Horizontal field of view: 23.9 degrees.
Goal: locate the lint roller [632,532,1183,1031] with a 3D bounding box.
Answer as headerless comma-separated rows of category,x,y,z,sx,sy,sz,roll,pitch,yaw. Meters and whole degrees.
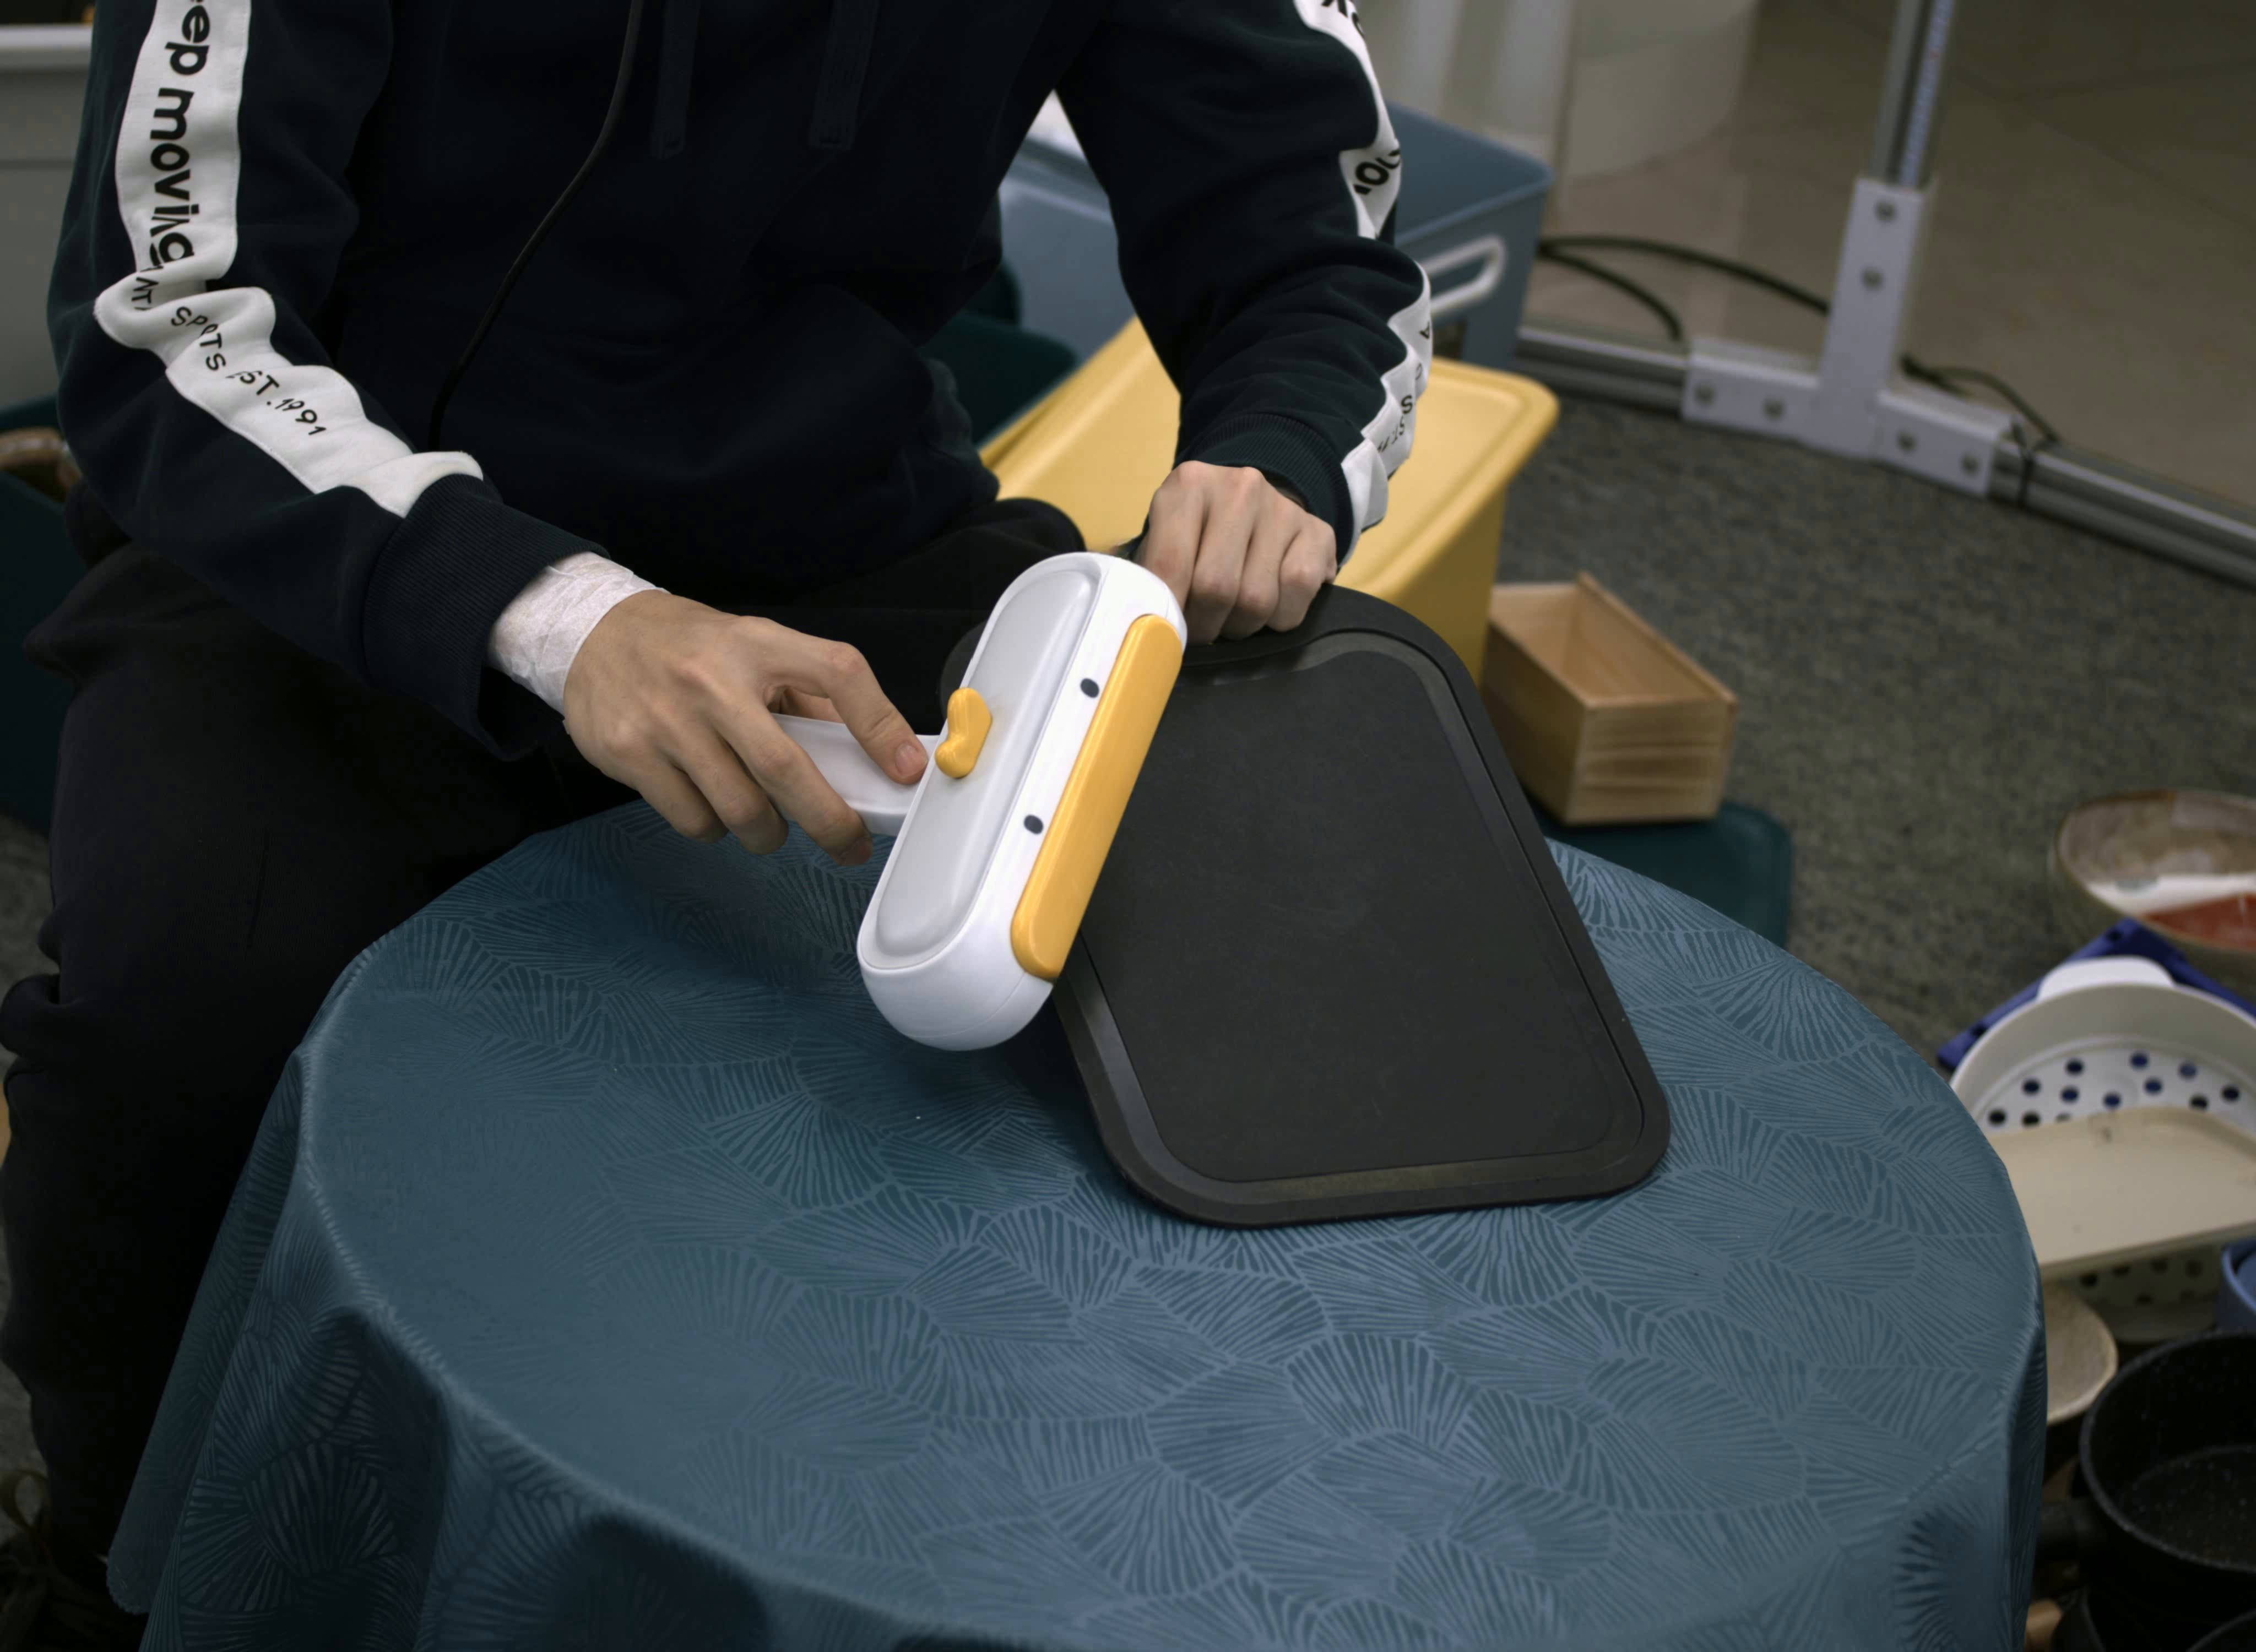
lint roller,-0.086,-0.017,1.885,0.193,0.073,0.194,-5,57,34

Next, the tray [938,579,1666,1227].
tray,0.056,0.018,1.913,0.210,0.010,0.328,-3,44,-19
